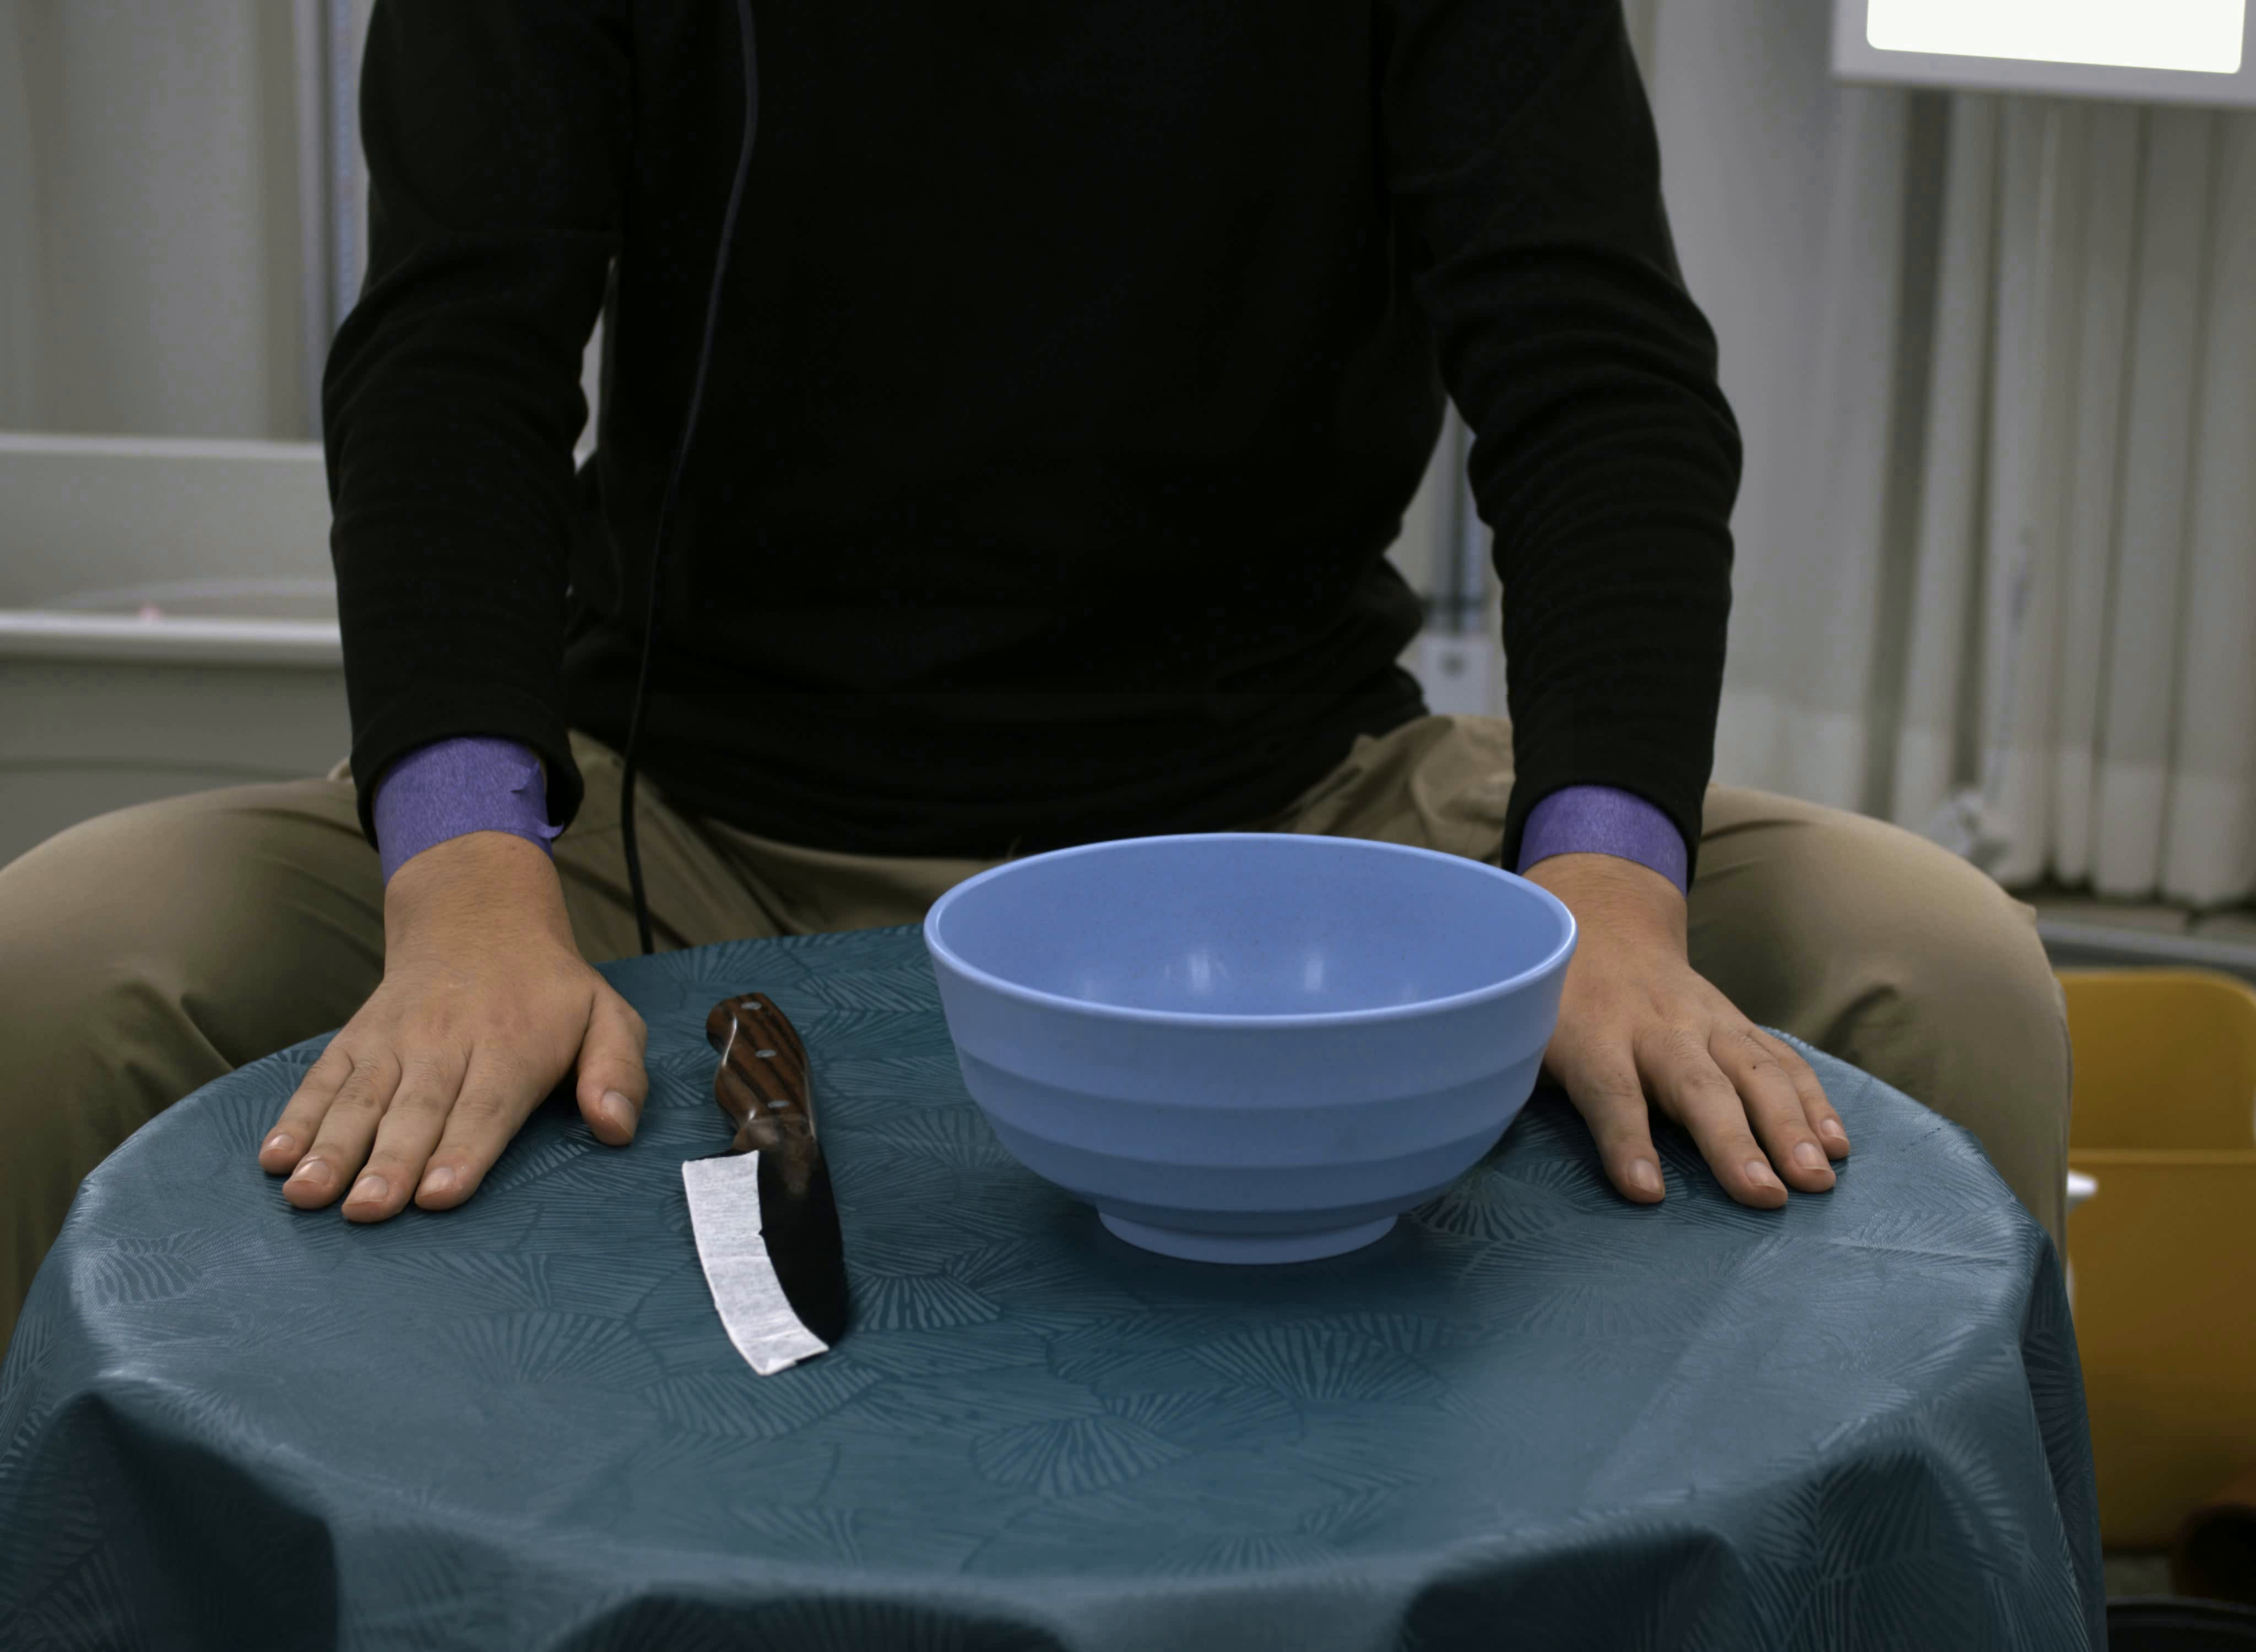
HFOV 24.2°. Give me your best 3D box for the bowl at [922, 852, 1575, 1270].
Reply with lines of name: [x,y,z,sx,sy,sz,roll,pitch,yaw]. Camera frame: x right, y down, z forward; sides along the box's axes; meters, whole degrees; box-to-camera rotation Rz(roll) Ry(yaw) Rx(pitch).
bowl: [0.036,0.075,1.590,0.196,0.096,0.195,0,14,1]

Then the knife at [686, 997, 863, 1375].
knife: [-0.110,0.109,1.605,0.050,0.020,0.287,-5,19,-4]
